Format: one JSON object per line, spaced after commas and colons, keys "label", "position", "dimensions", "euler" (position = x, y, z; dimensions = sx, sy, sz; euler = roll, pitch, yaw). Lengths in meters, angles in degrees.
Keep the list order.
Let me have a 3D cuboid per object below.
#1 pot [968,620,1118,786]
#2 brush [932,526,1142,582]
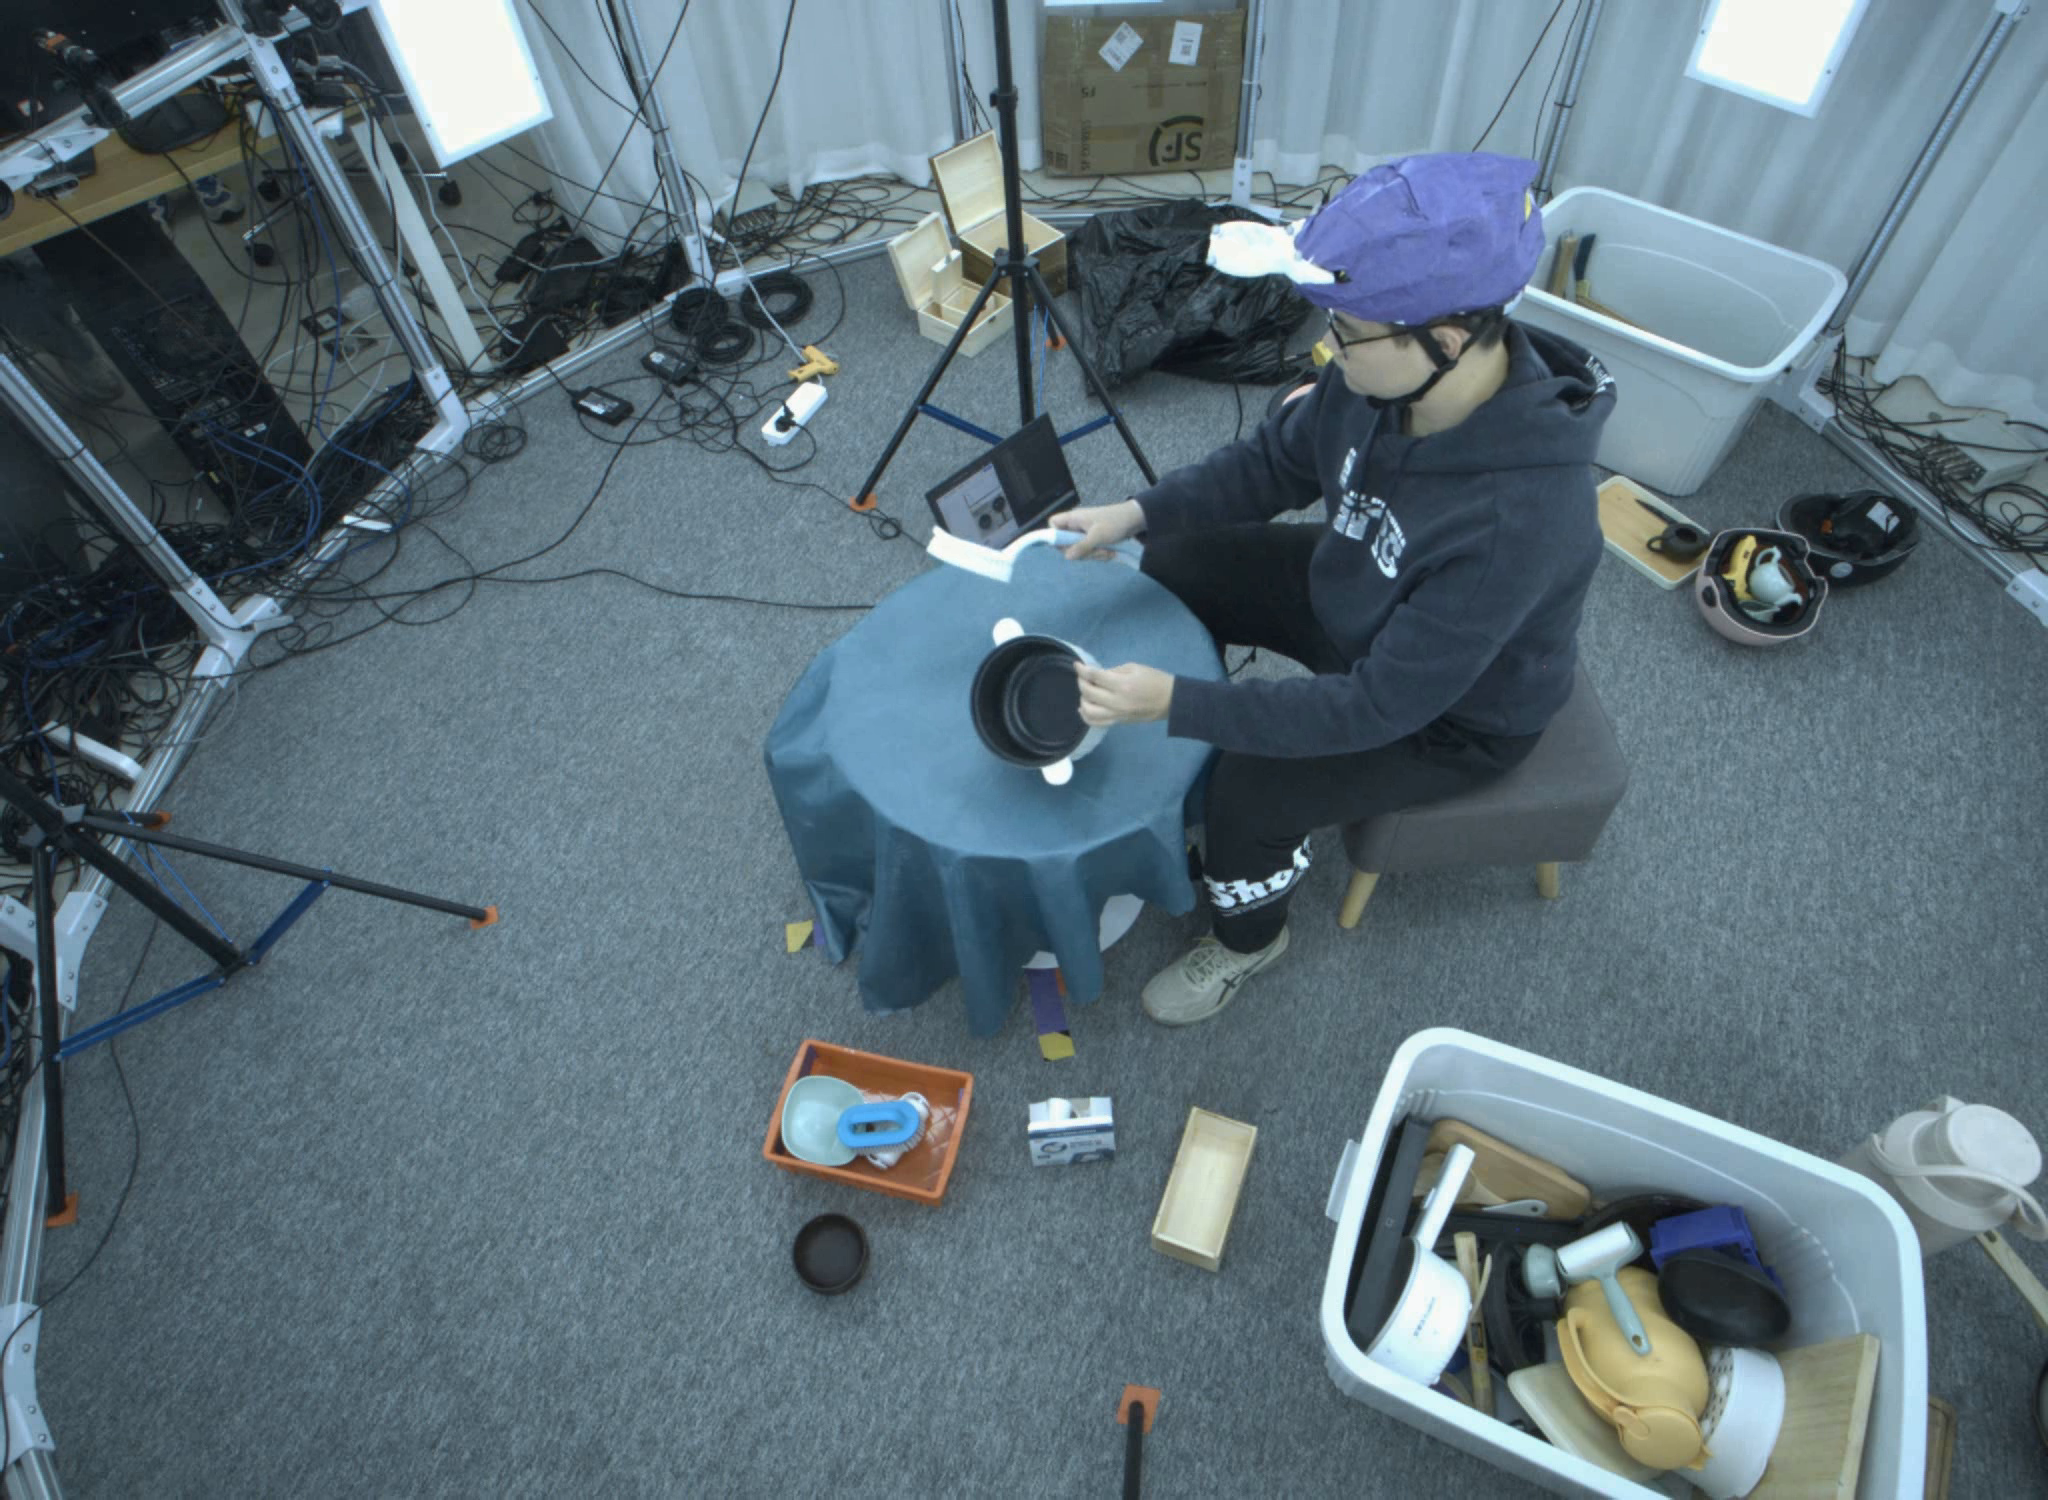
{"label": "pot", "position": [0.026, -0.062, 1.719], "dimensions": [0.189, 0.144, 0.239], "euler": [-22, 84, 15]}
{"label": "brush", "position": [0.021, -0.282, 1.838], "dimensions": [0.330, 0.084, 0.082], "euler": [2, 52, -18]}
